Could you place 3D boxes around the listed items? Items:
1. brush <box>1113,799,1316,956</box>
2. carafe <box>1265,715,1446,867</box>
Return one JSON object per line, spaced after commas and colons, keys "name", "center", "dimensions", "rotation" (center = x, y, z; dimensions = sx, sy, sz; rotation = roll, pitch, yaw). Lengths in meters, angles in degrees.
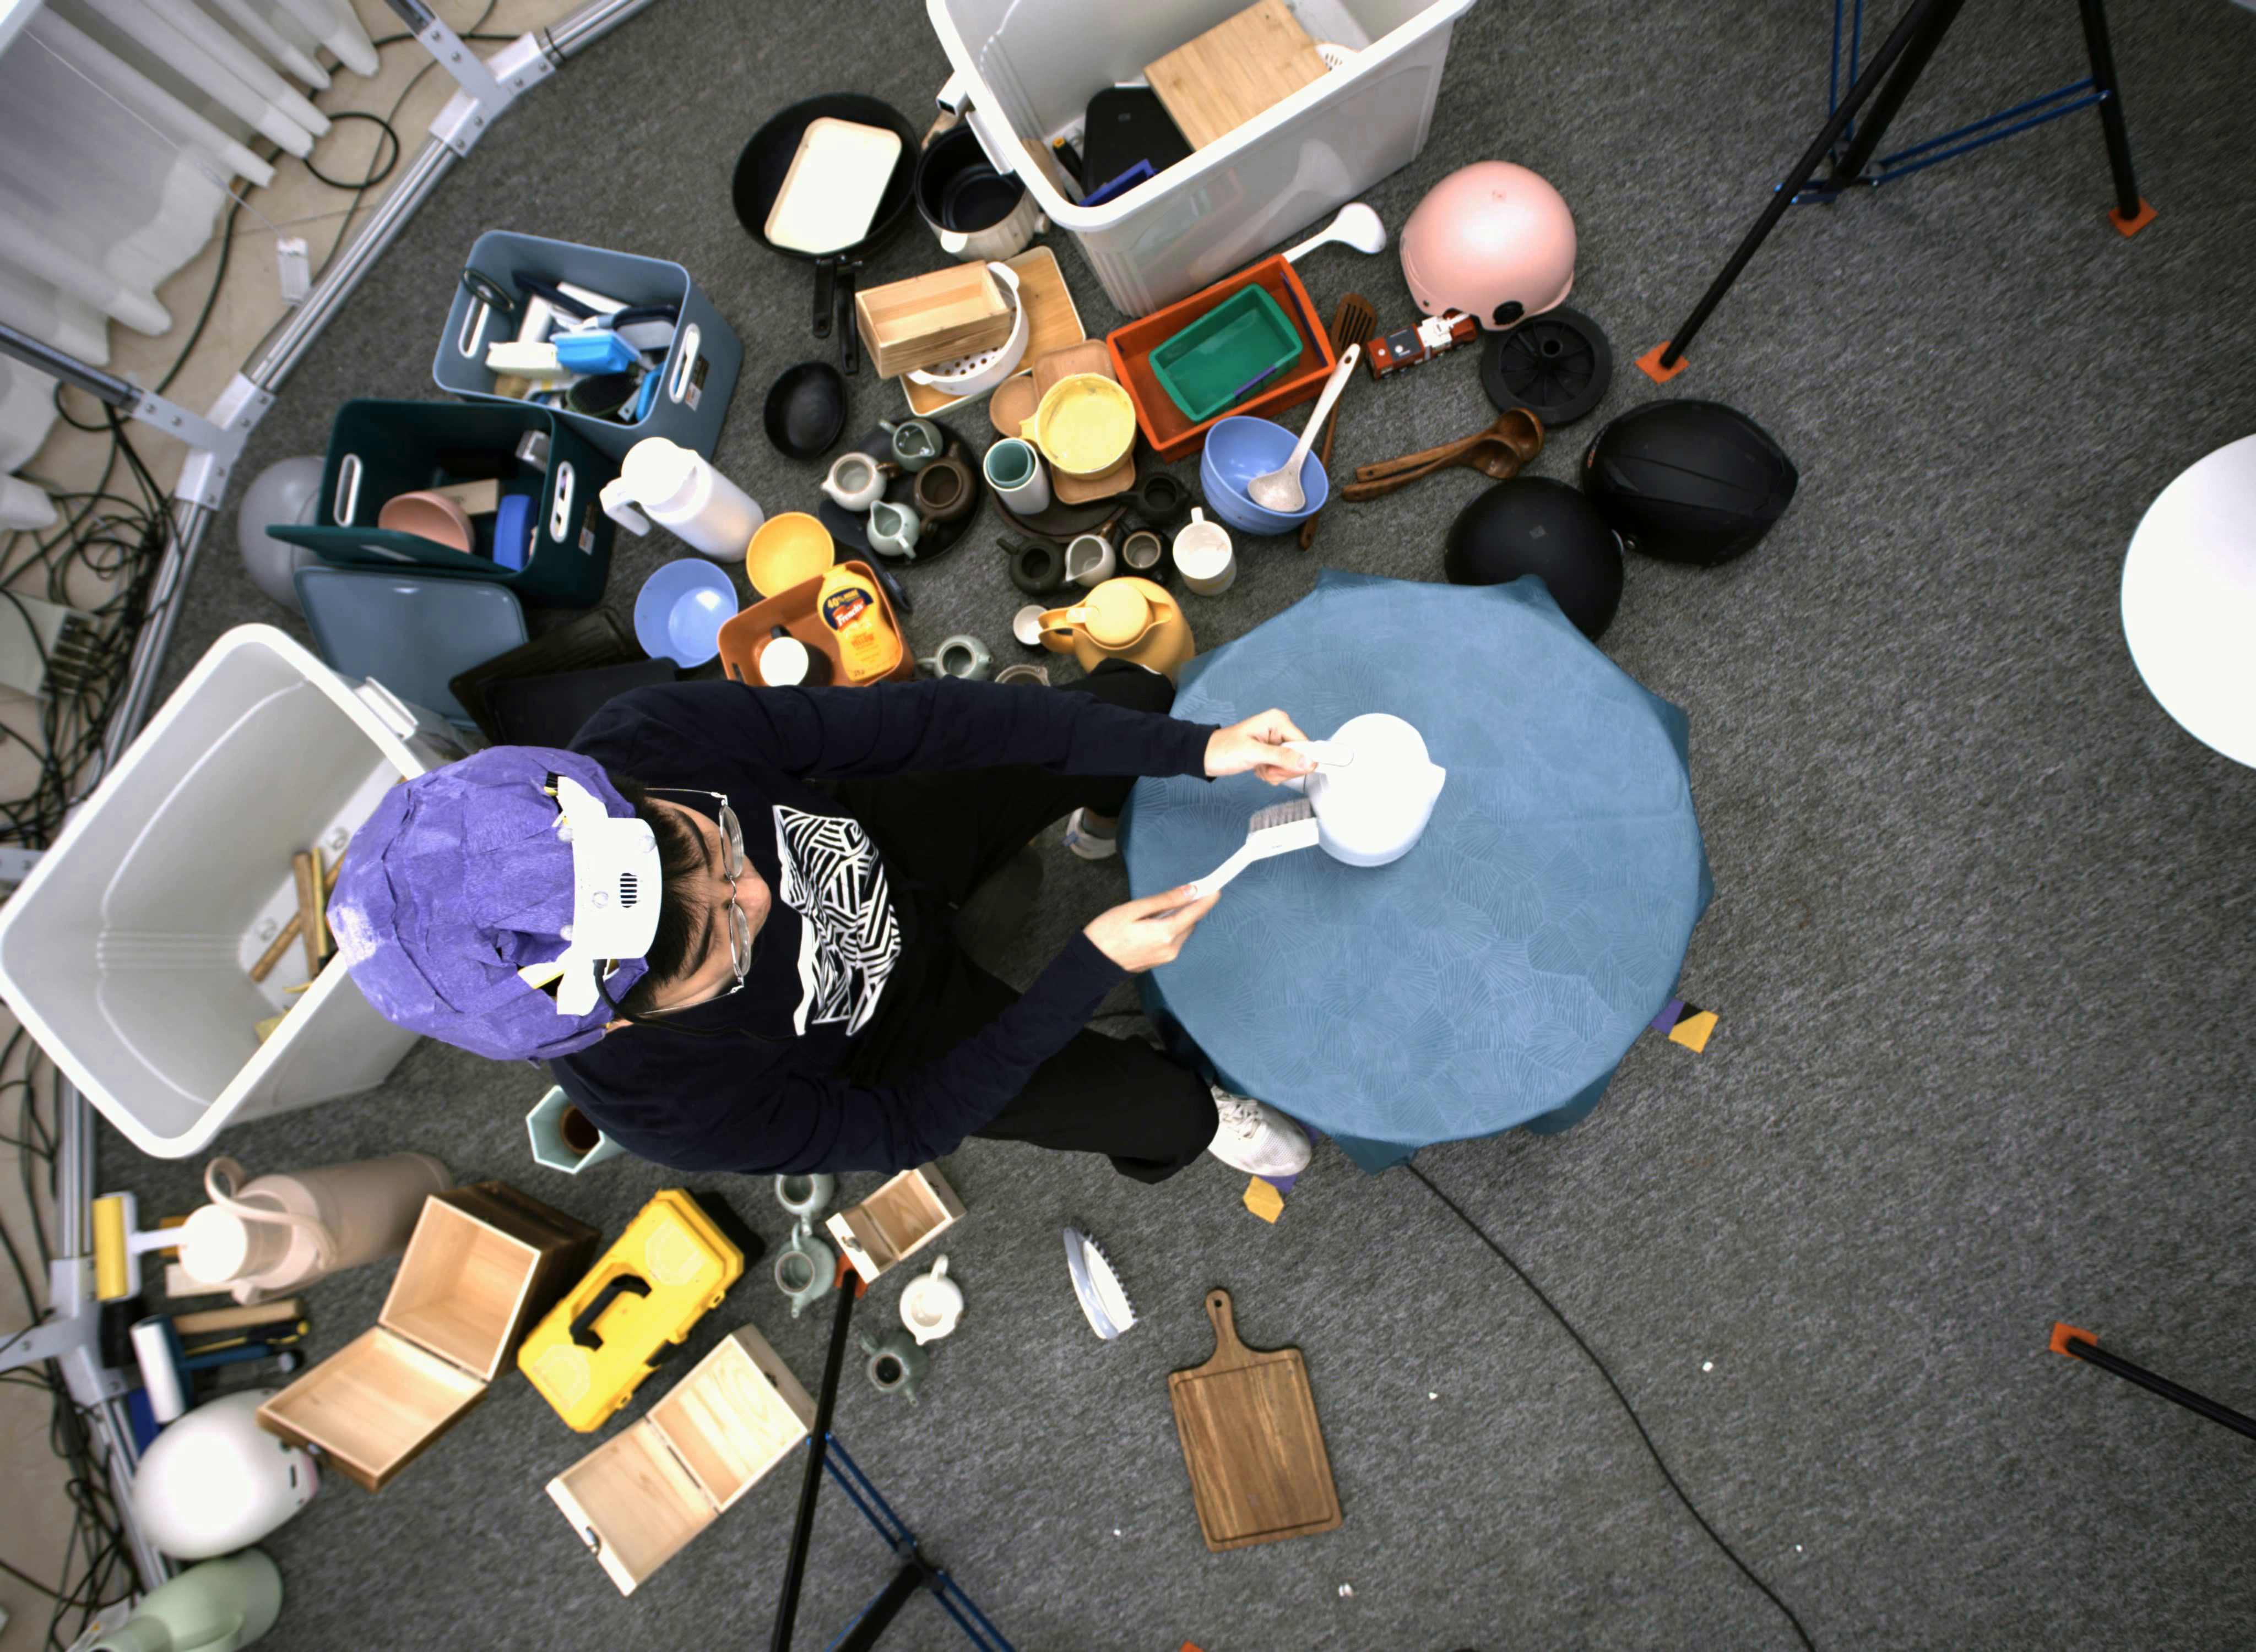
{"name": "brush", "center": [0.080, 0.048, 1.374], "dimensions": [0.246, 0.035, 0.049], "rotation": [-33, 60, 12]}
{"name": "carafe", "center": [0.218, -0.042, 1.344], "dimensions": [0.168, 0.249, 0.132], "rotation": [9, 85, 9]}
